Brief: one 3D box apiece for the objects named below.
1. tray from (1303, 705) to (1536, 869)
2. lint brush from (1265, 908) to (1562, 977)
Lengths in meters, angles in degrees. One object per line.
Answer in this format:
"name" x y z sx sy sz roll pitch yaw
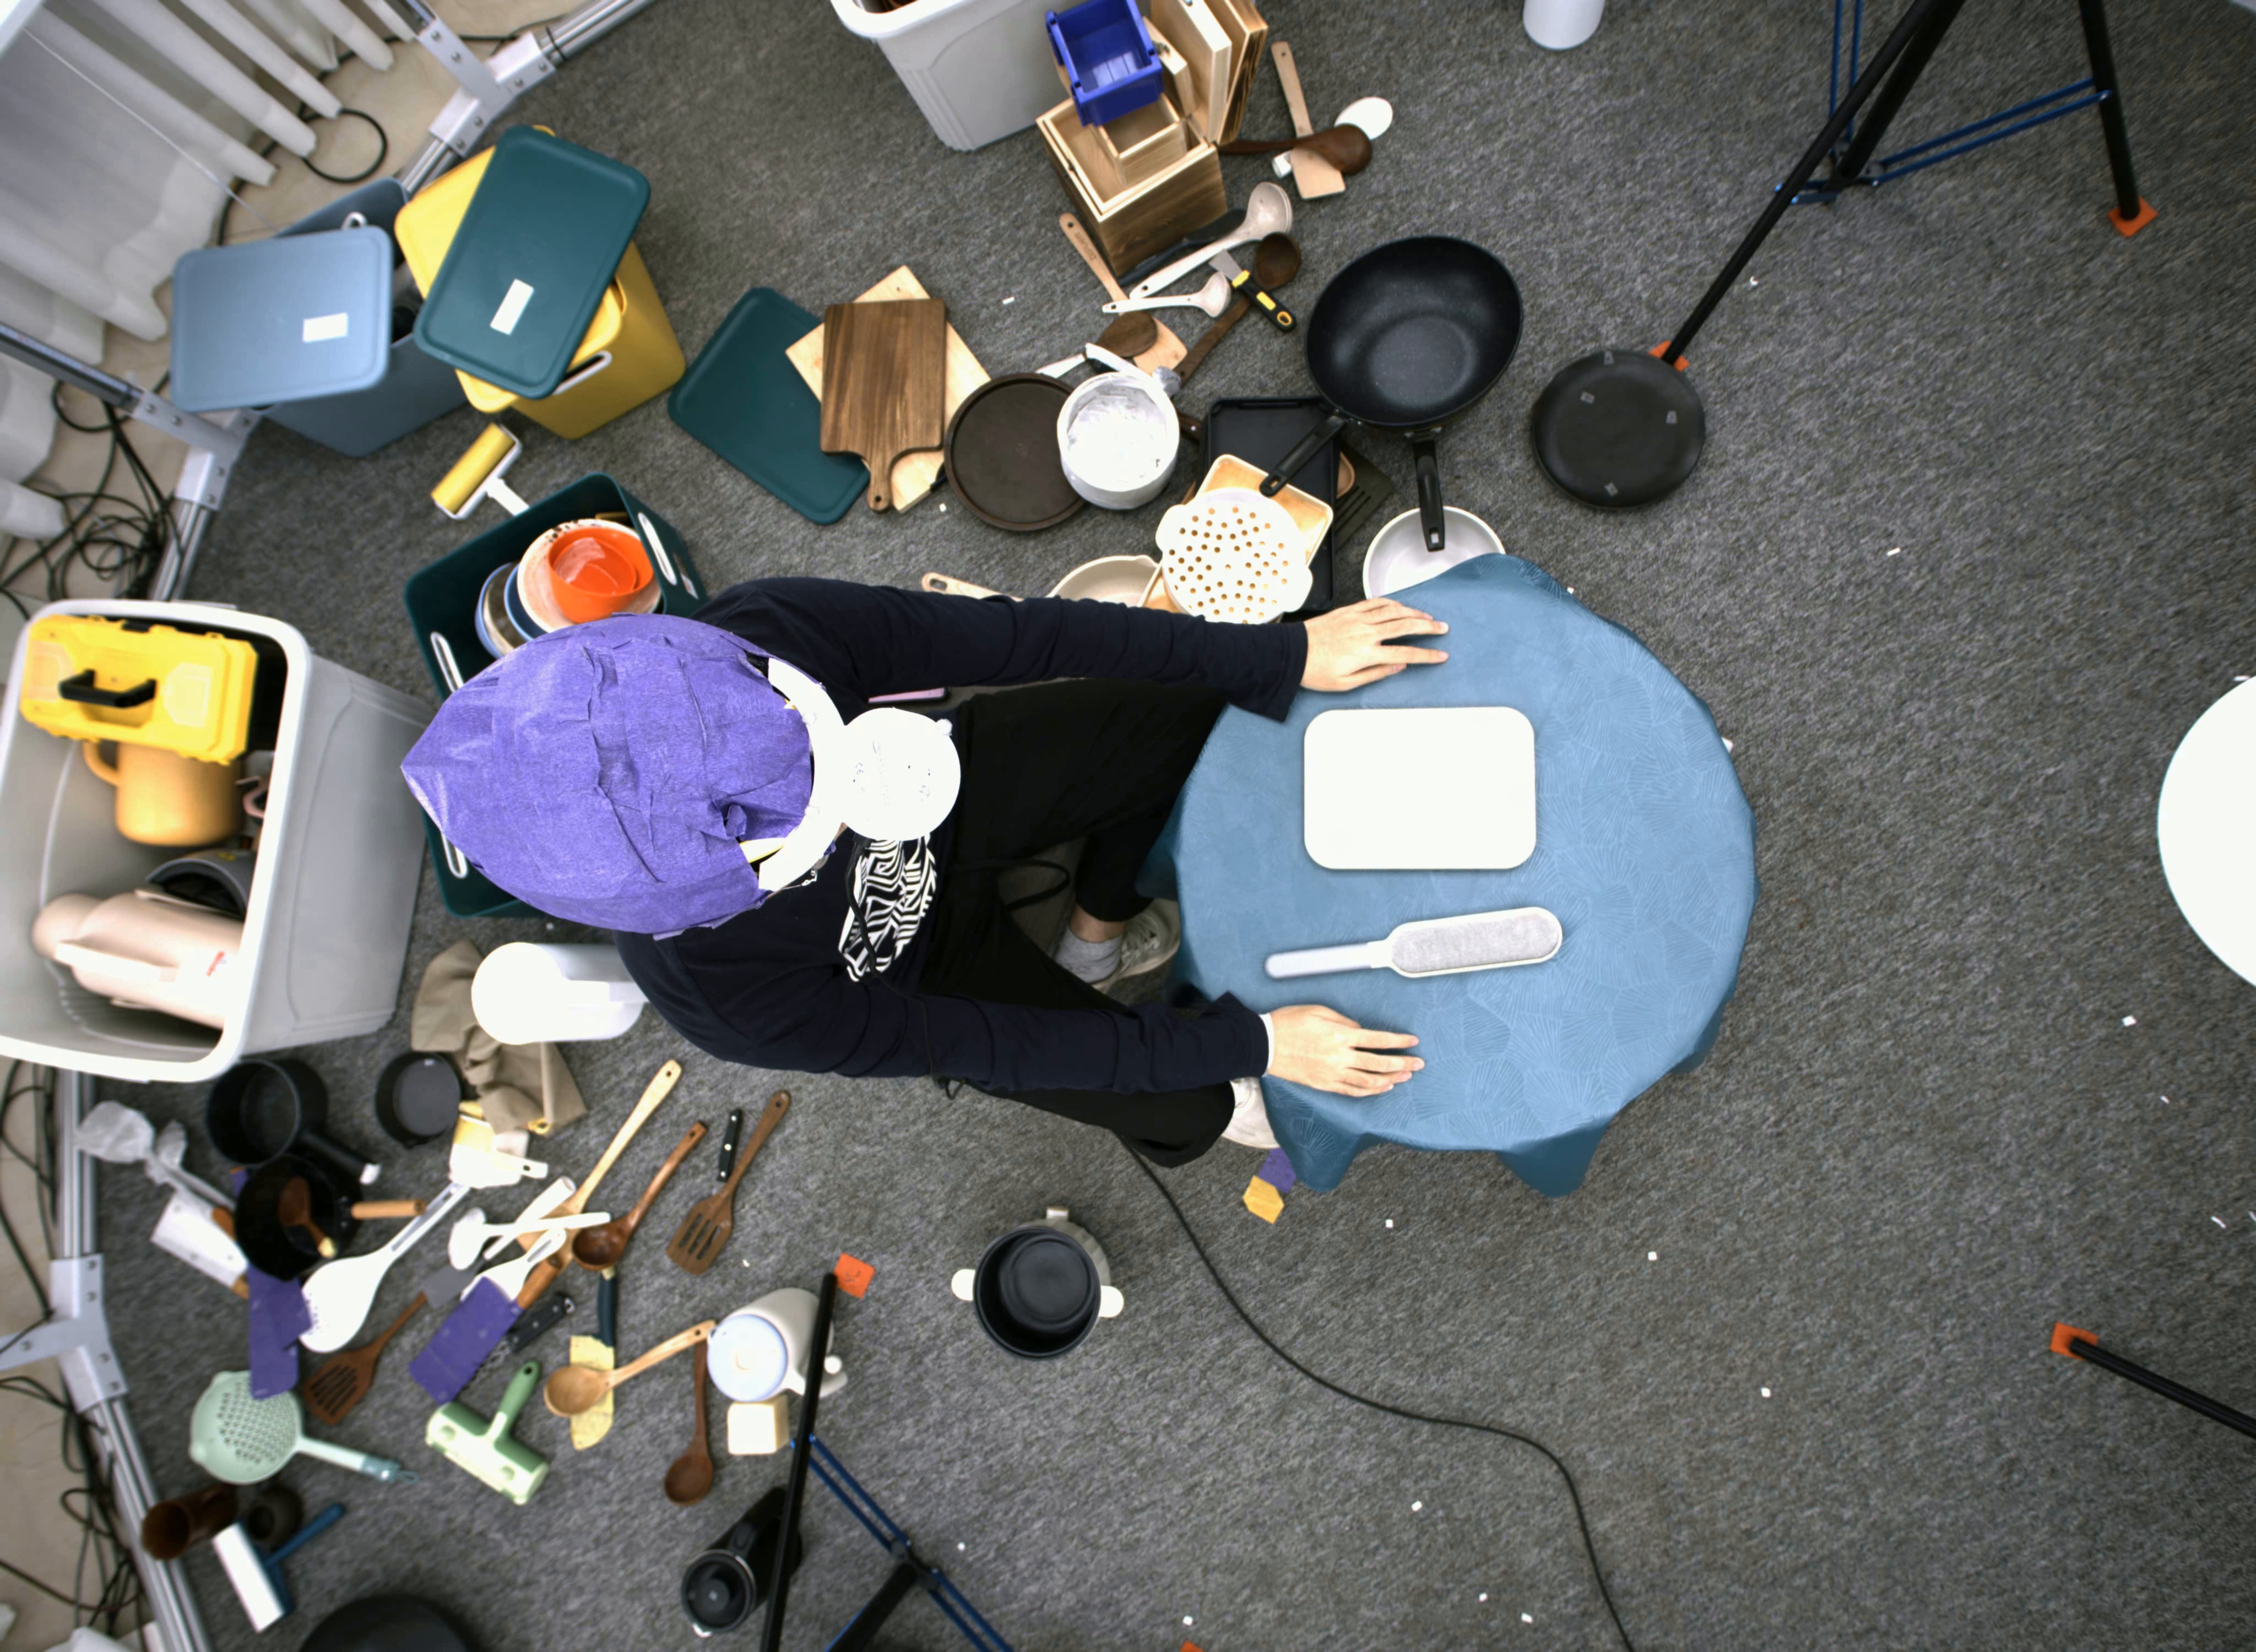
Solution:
"tray" 0.305 -0.042 1.451 0.240 0.017 0.170 -1 87 11
"lint brush" 0.295 0.126 1.439 0.310 0.021 0.060 -8 90 10
